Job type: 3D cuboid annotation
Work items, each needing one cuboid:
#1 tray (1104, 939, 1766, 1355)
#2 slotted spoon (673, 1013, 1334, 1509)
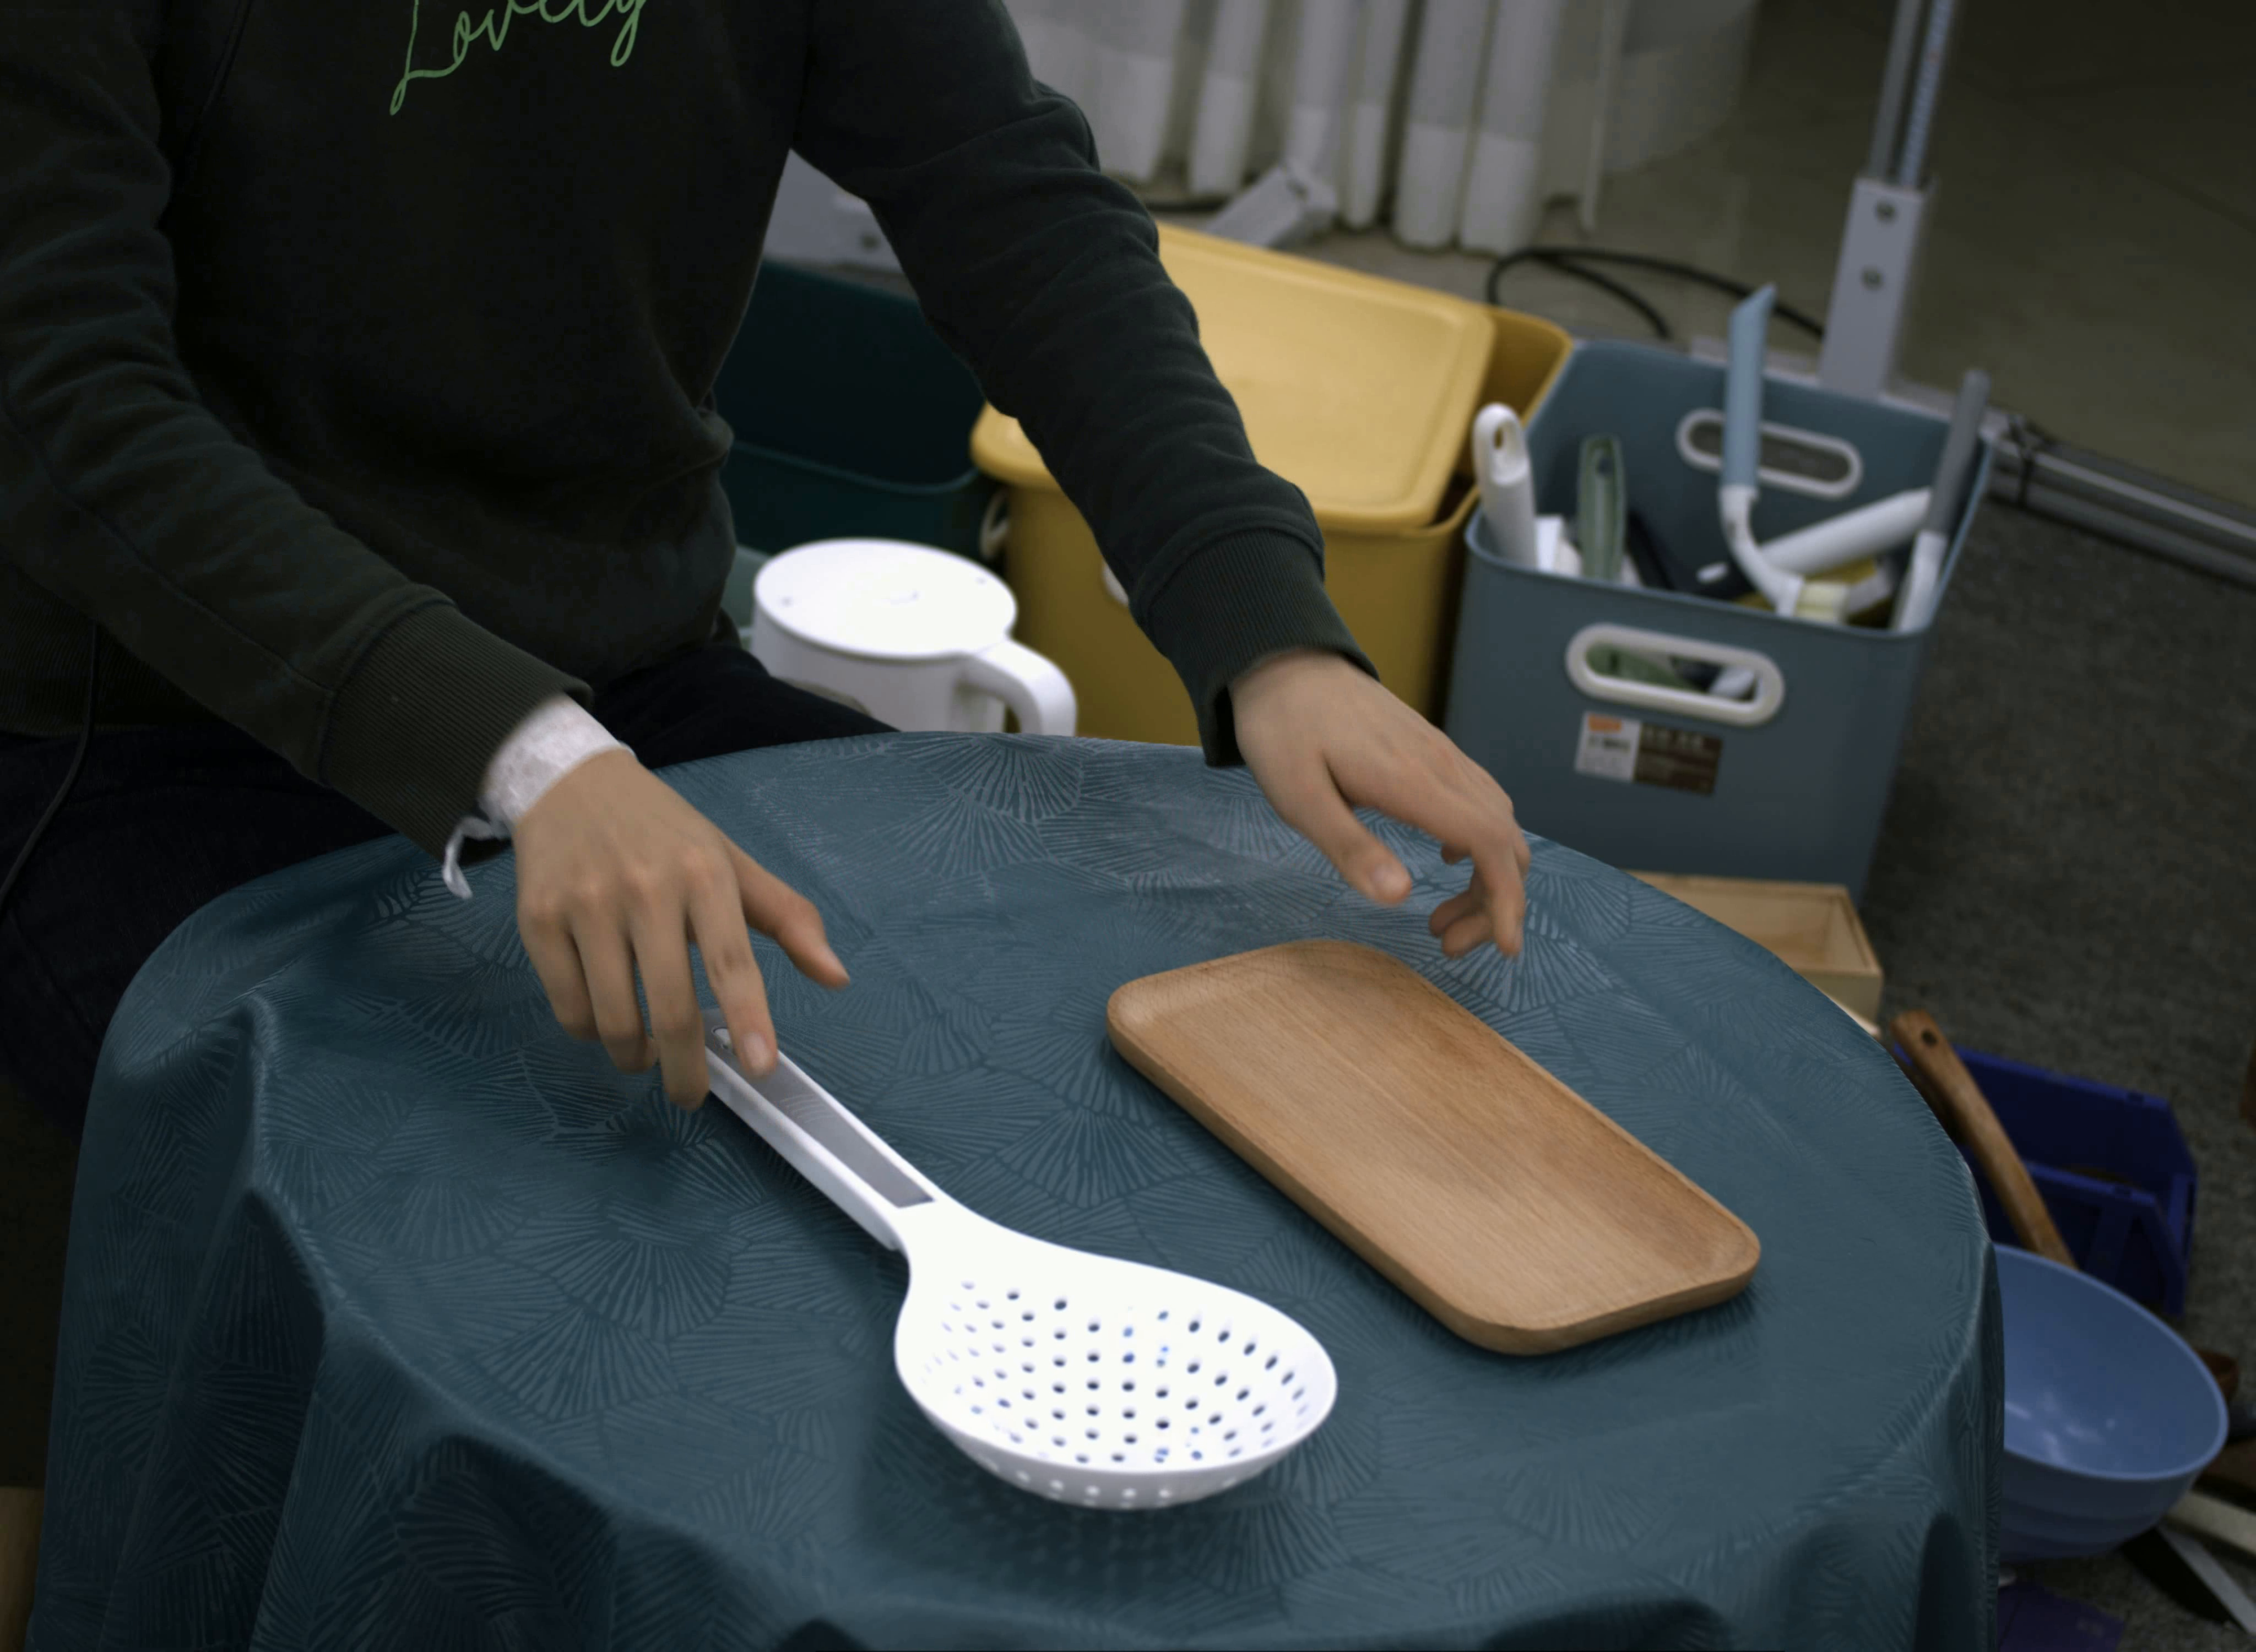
[{"bbox_3d":[0.102,0.108,1.836,0.130,0.023,0.253,-10,30,-33],"label":"tray"},{"bbox_3d":[-0.060,0.134,1.716,0.135,0.045,0.353,-7,29,-30],"label":"slotted spoon"}]
